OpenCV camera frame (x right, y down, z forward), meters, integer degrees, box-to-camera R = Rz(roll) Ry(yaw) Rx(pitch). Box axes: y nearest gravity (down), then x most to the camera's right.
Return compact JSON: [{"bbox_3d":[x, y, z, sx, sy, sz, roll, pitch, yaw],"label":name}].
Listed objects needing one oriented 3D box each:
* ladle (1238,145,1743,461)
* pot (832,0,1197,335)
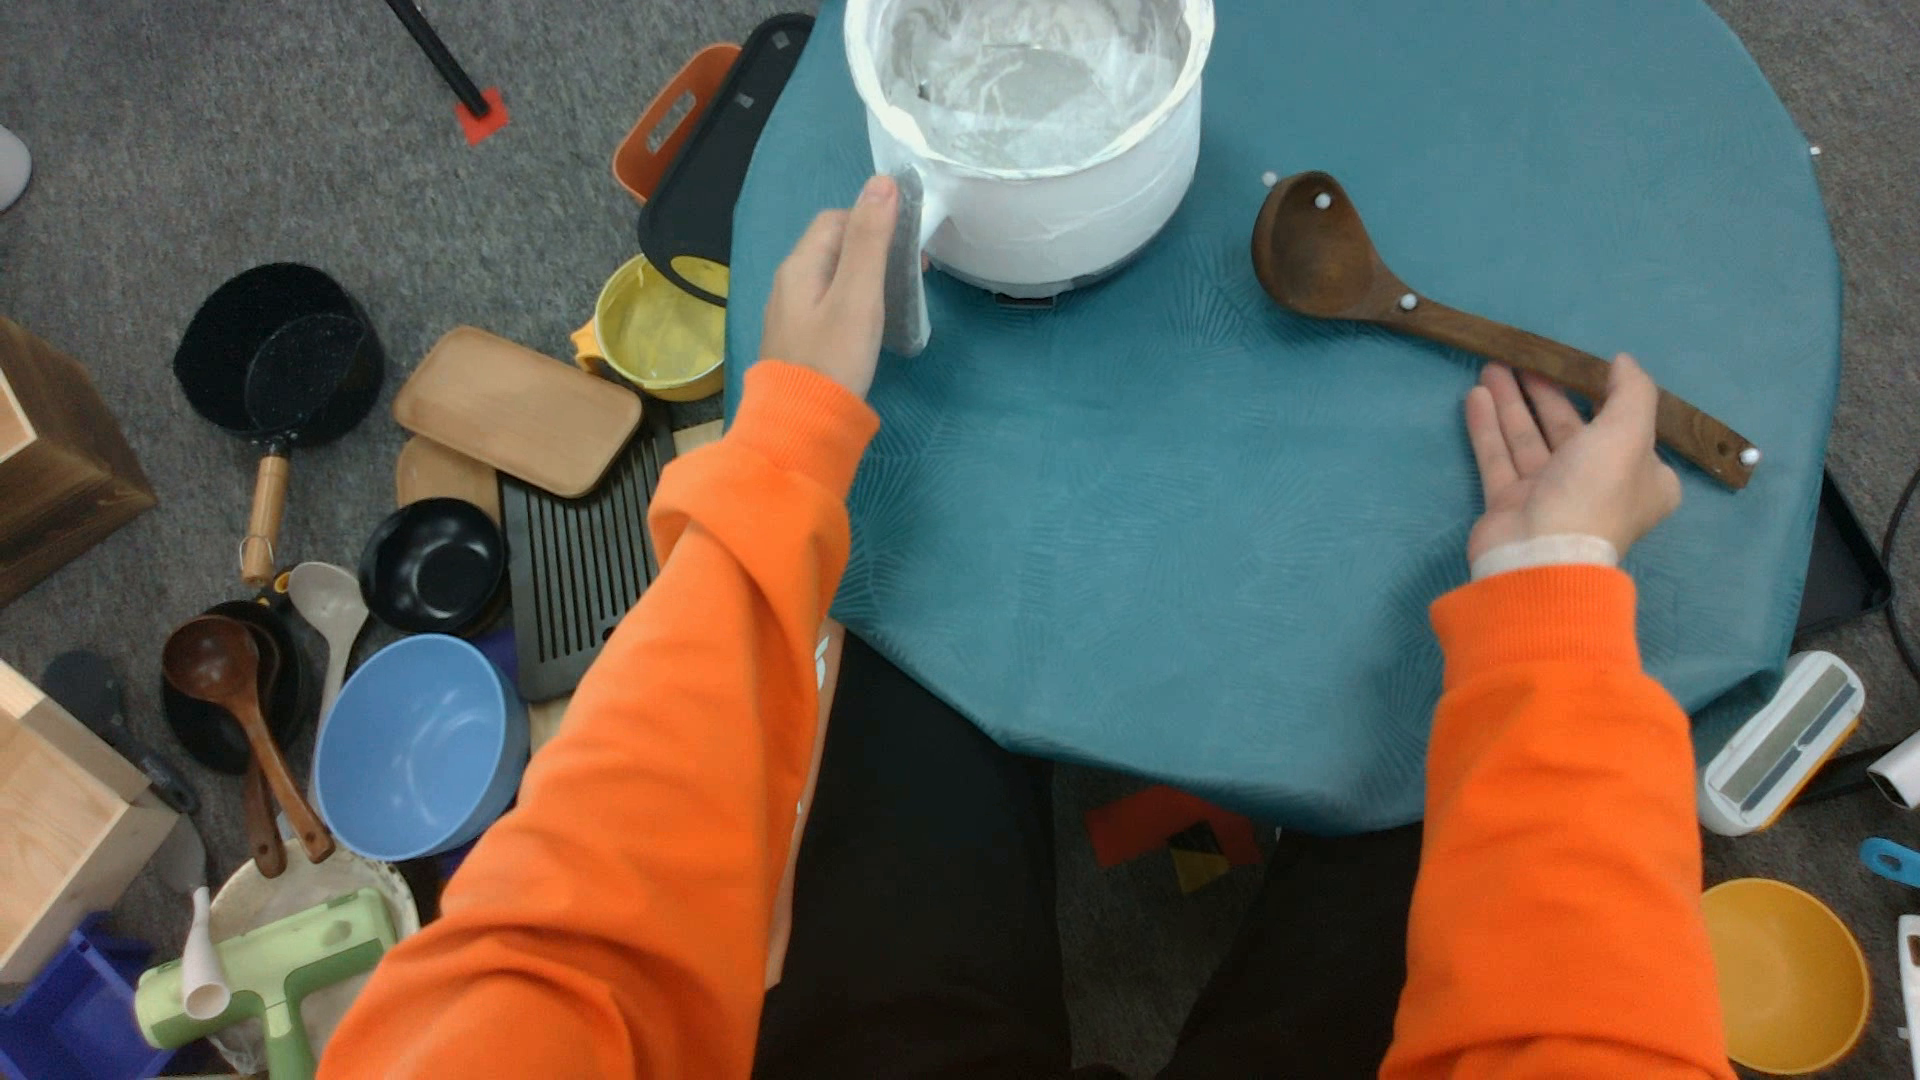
[{"bbox_3d":[0.269,-0.118,0.695,0.274,0.071,0.076,28,80,14],"label":"ladle"},{"bbox_3d":[0.016,-0.218,0.714,0.179,0.136,0.234,30,77,14],"label":"pot"}]
